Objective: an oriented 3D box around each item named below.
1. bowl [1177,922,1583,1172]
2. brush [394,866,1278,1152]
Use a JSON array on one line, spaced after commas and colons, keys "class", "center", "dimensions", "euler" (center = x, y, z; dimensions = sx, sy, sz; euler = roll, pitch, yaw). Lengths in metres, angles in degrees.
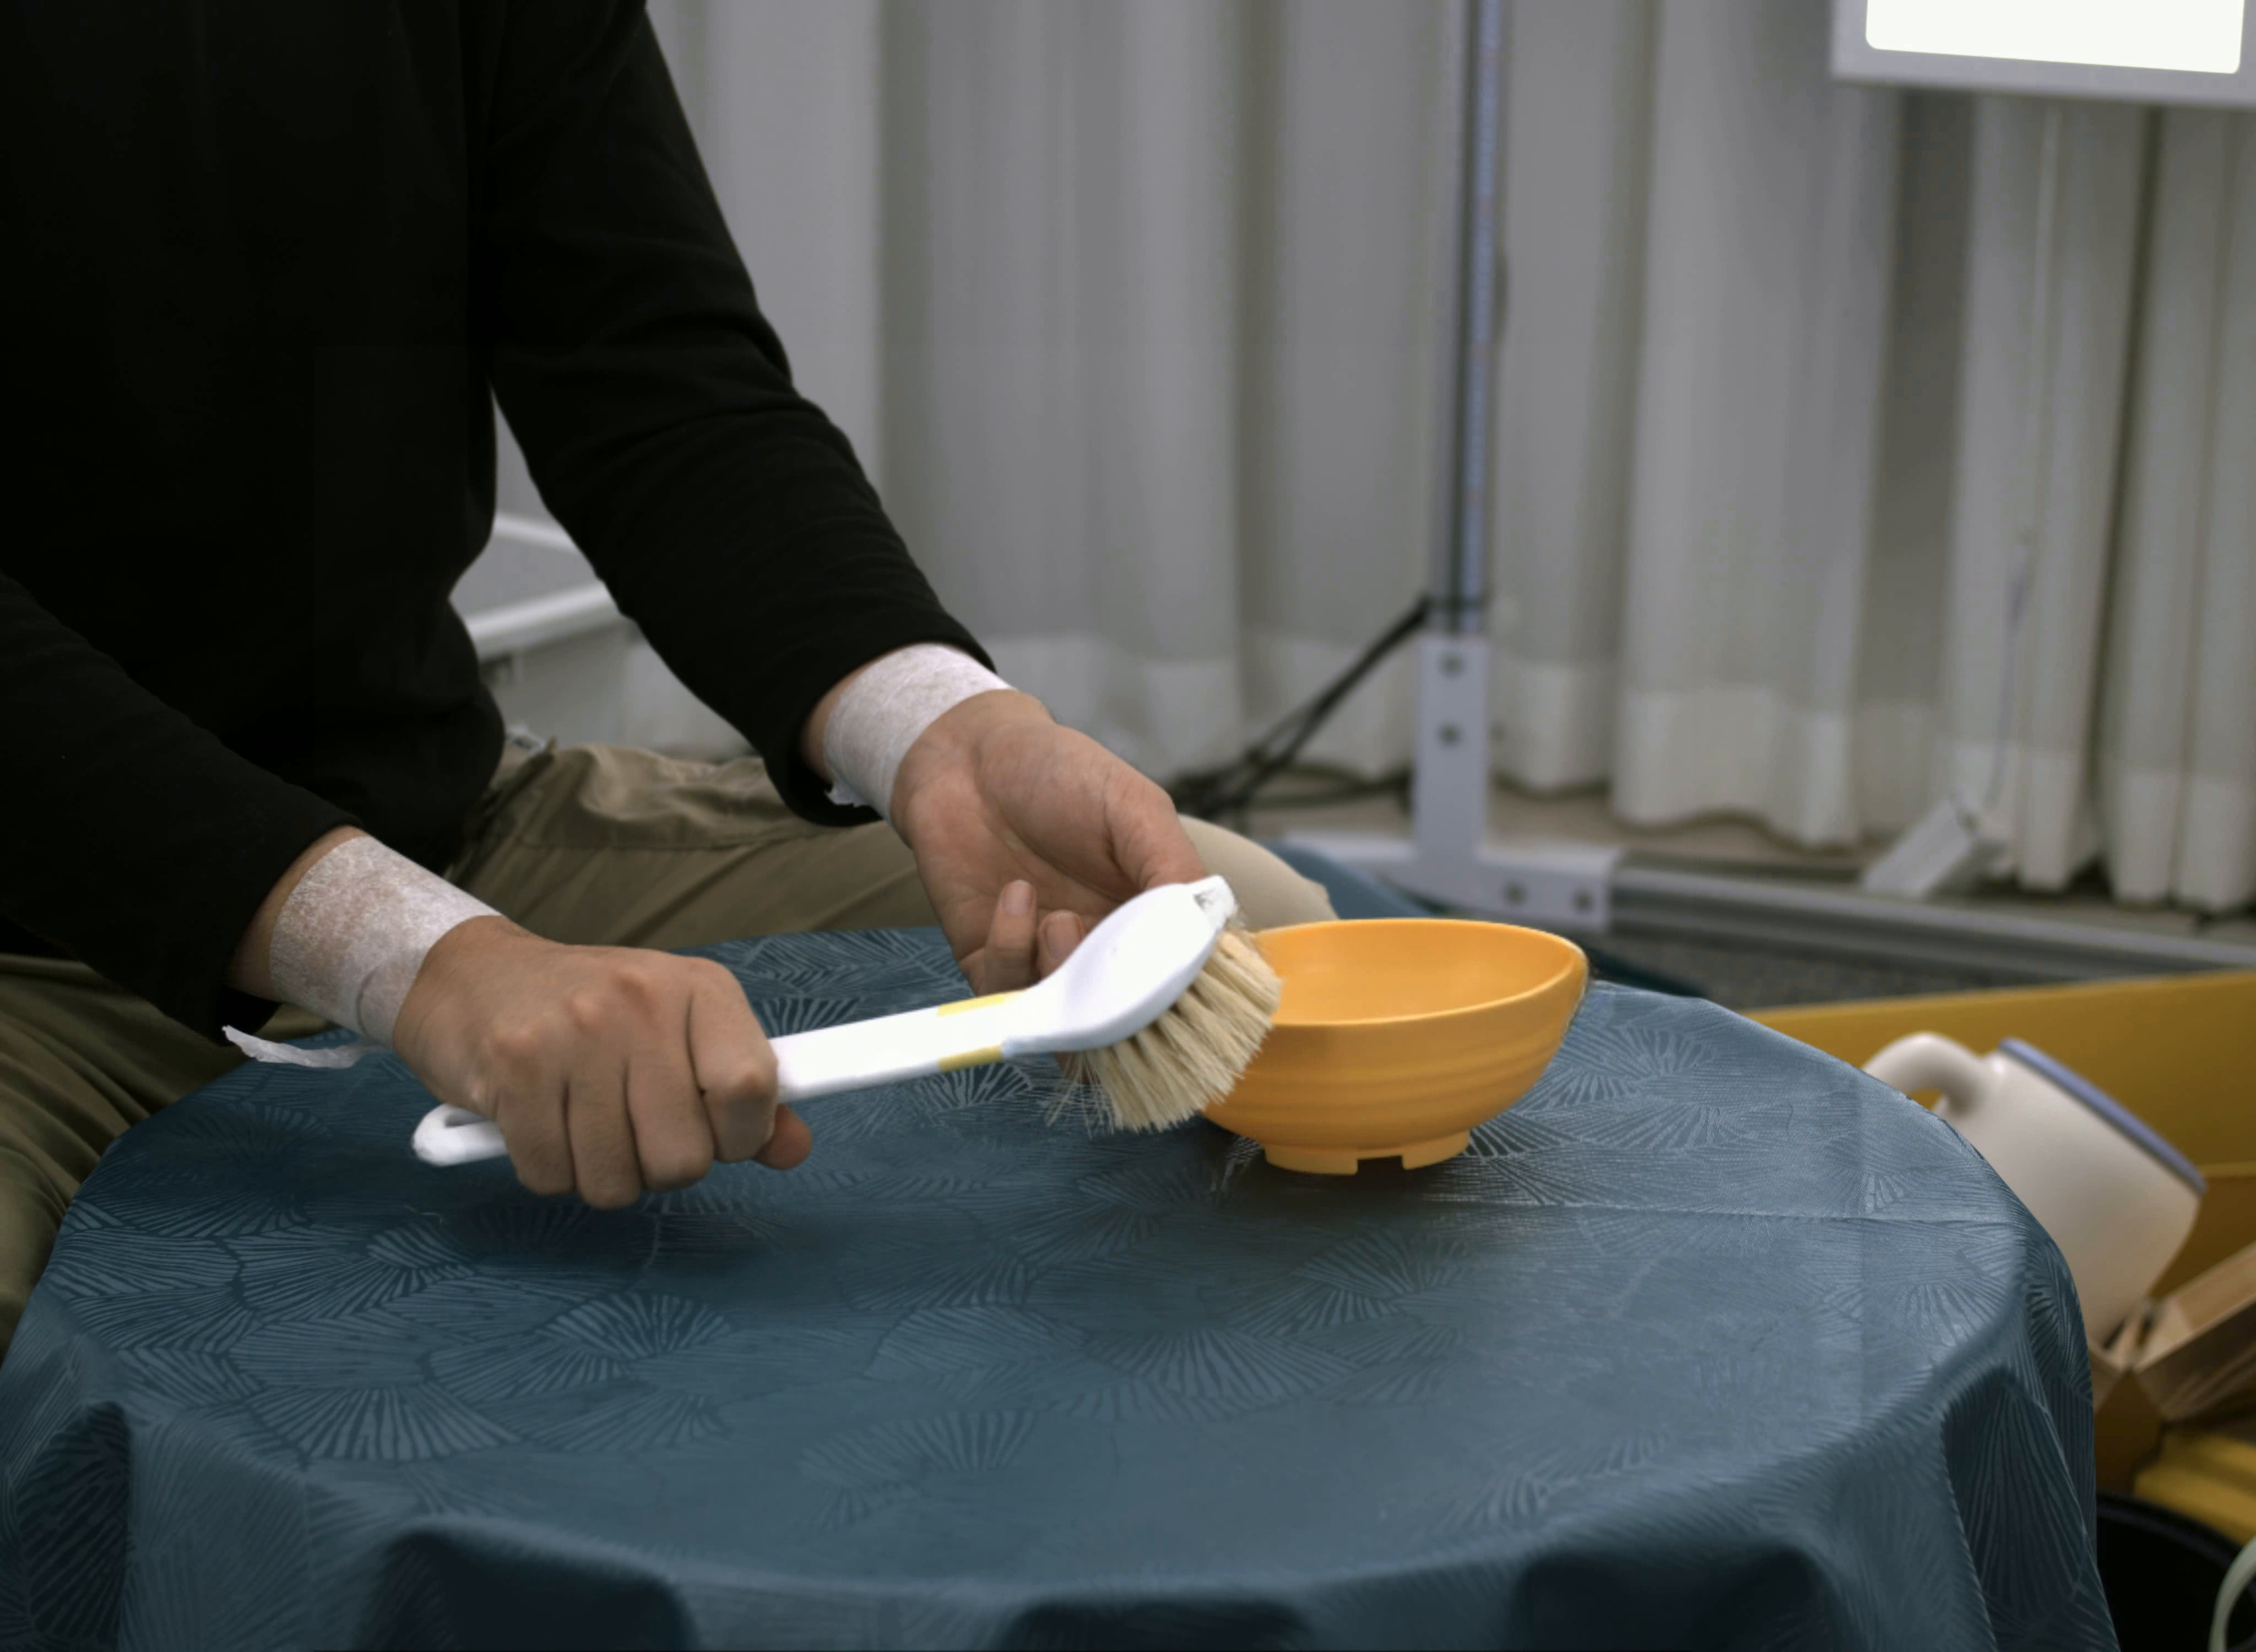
[{"class": "bowl", "center": [0.072, 0.072, 1.644], "dimensions": [0.145, 0.060, 0.145], "euler": [-3, 11, 1]}, {"class": "brush", "center": [-0.084, 0.074, 1.564], "dimensions": [0.265, 0.057, 0.068], "euler": [-16, 25, 6]}]
